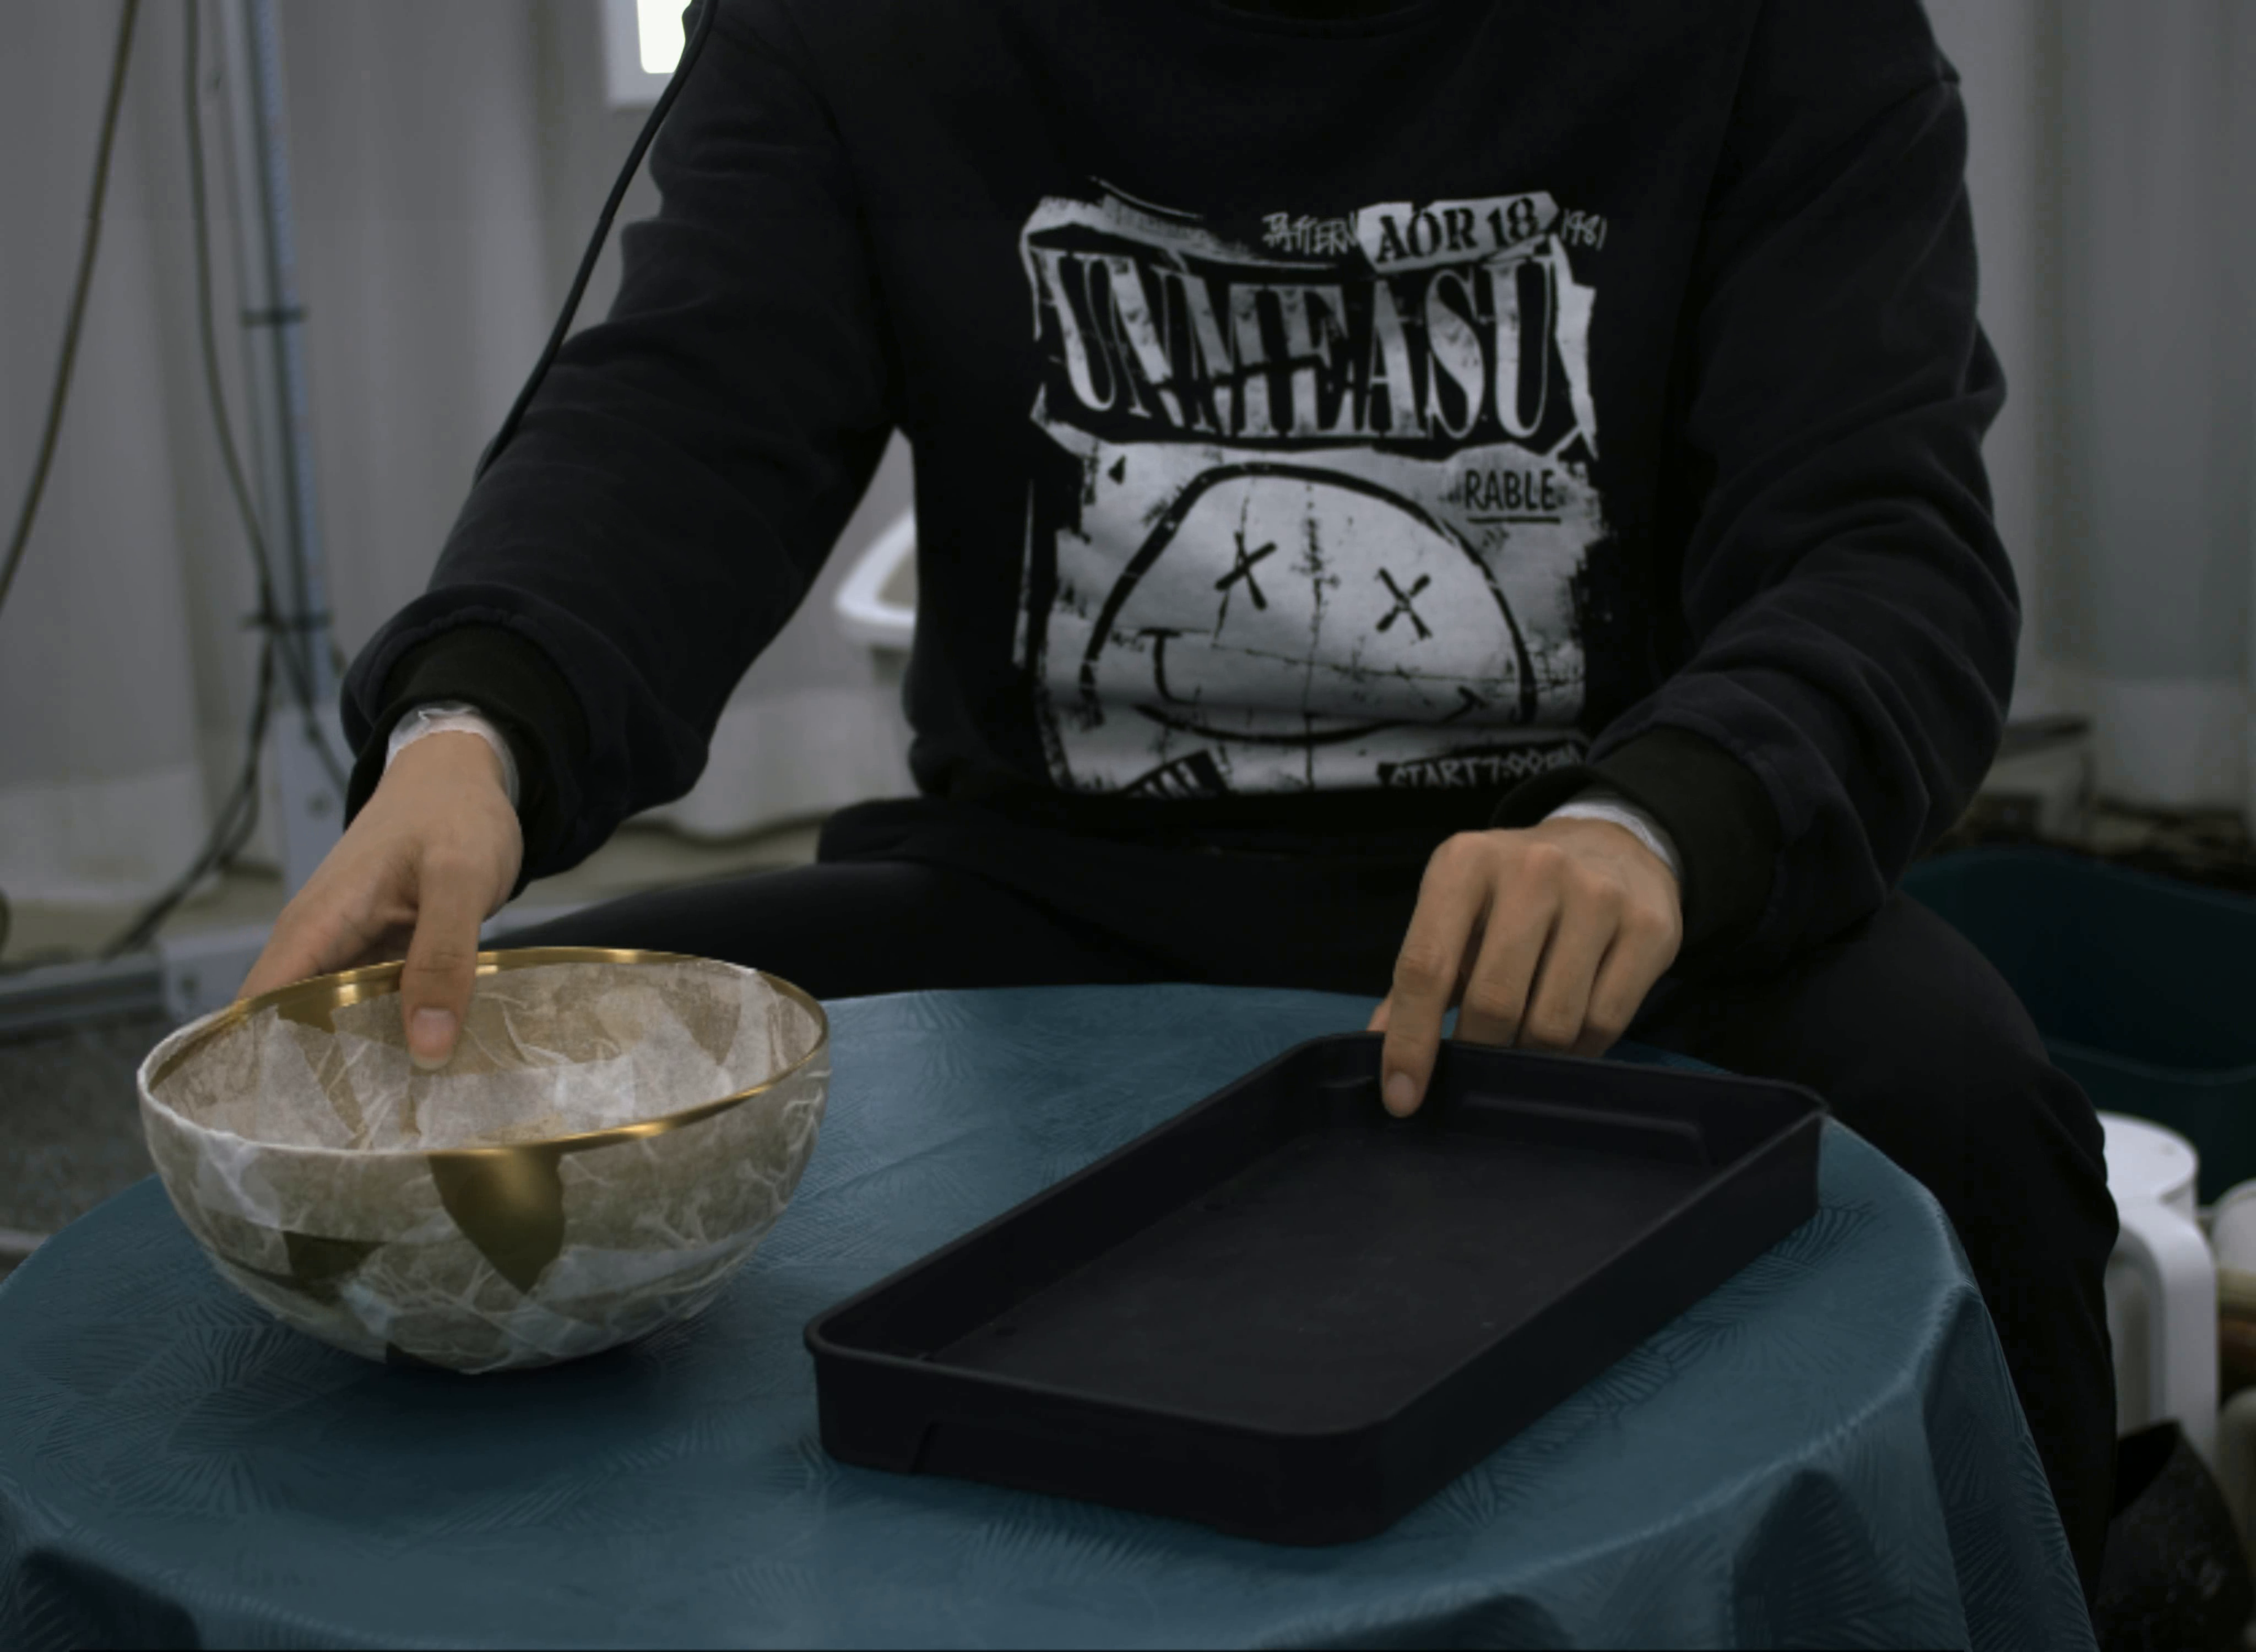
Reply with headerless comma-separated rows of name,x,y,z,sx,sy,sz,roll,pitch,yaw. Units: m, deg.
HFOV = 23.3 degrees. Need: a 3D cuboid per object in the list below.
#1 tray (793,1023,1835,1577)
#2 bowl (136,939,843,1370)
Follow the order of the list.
tray,0.061,0.130,1.588,0.185,0.037,0.318,8,20,32
bowl,-0.181,0.105,1.606,0.214,0.094,0.216,-4,14,1
